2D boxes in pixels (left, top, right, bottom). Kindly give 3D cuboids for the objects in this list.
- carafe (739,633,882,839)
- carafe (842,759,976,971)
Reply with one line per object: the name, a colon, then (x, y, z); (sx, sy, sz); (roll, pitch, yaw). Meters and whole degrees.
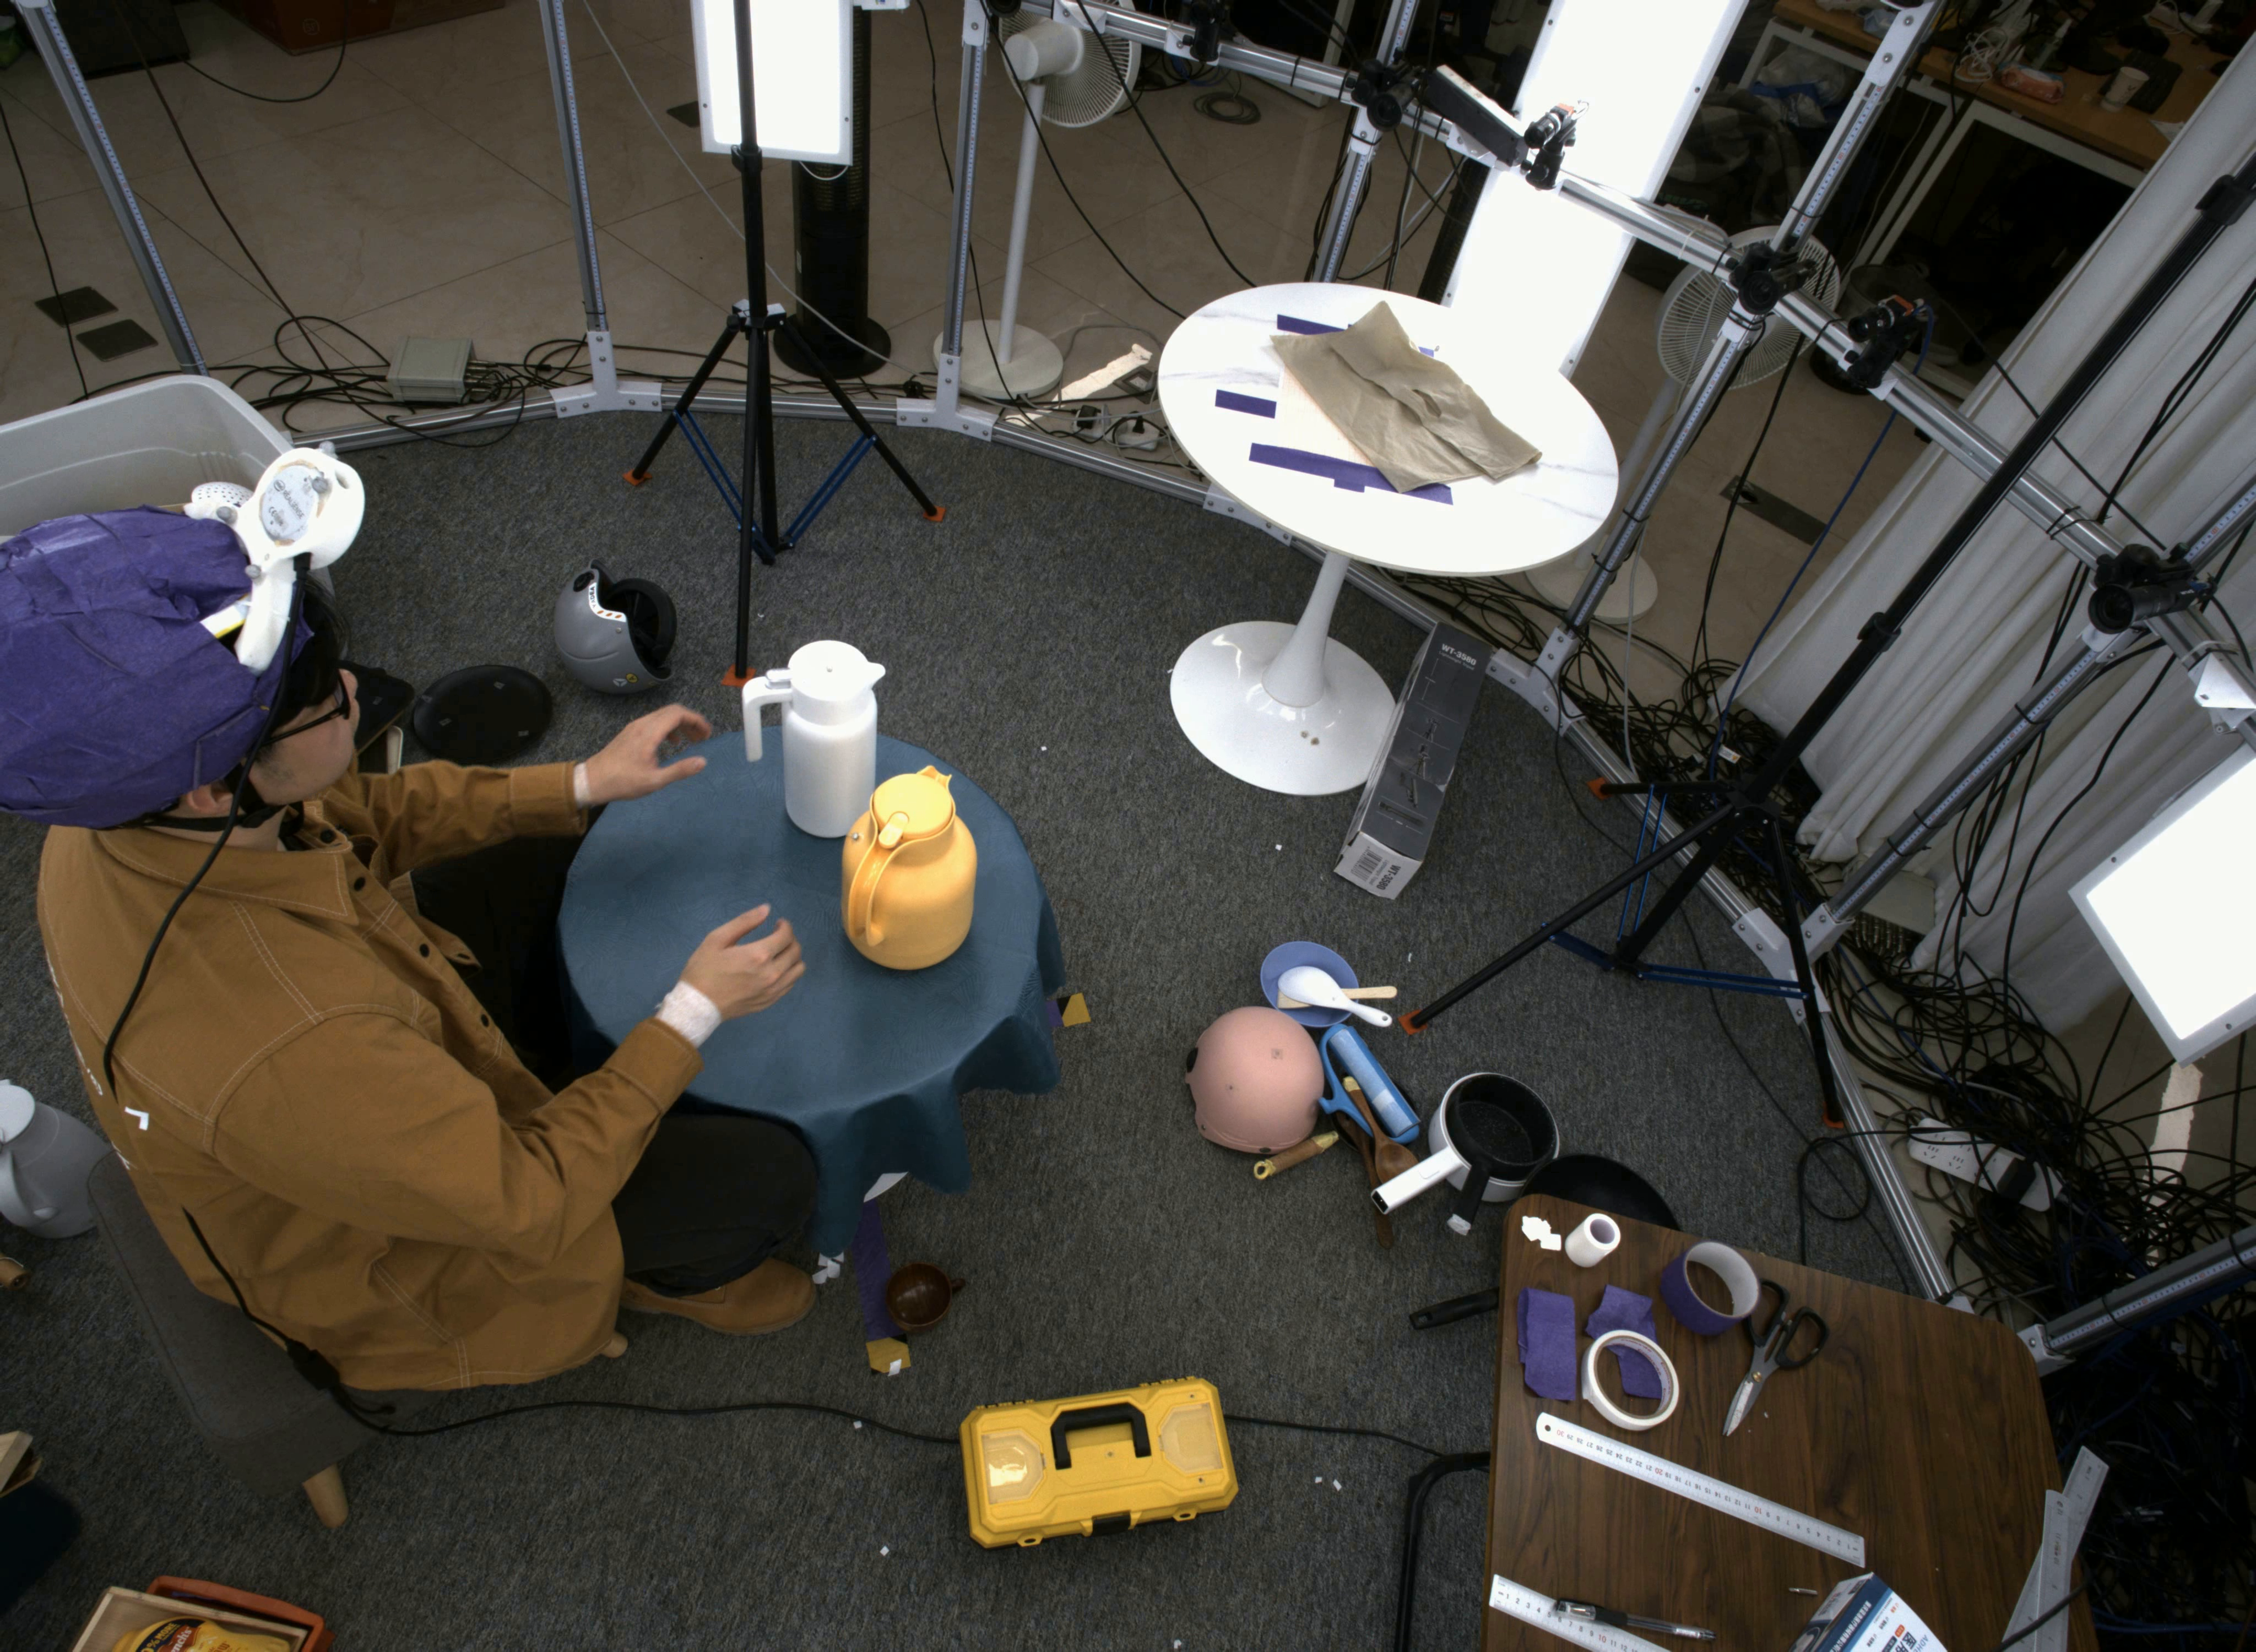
carafe: (-0.397, -0.107, 1.636); (0.173, 0.274, 0.121); (-10, 57, -19)
carafe: (-0.272, 0.057, 1.549); (0.160, 0.267, 0.201); (24, 50, 10)
